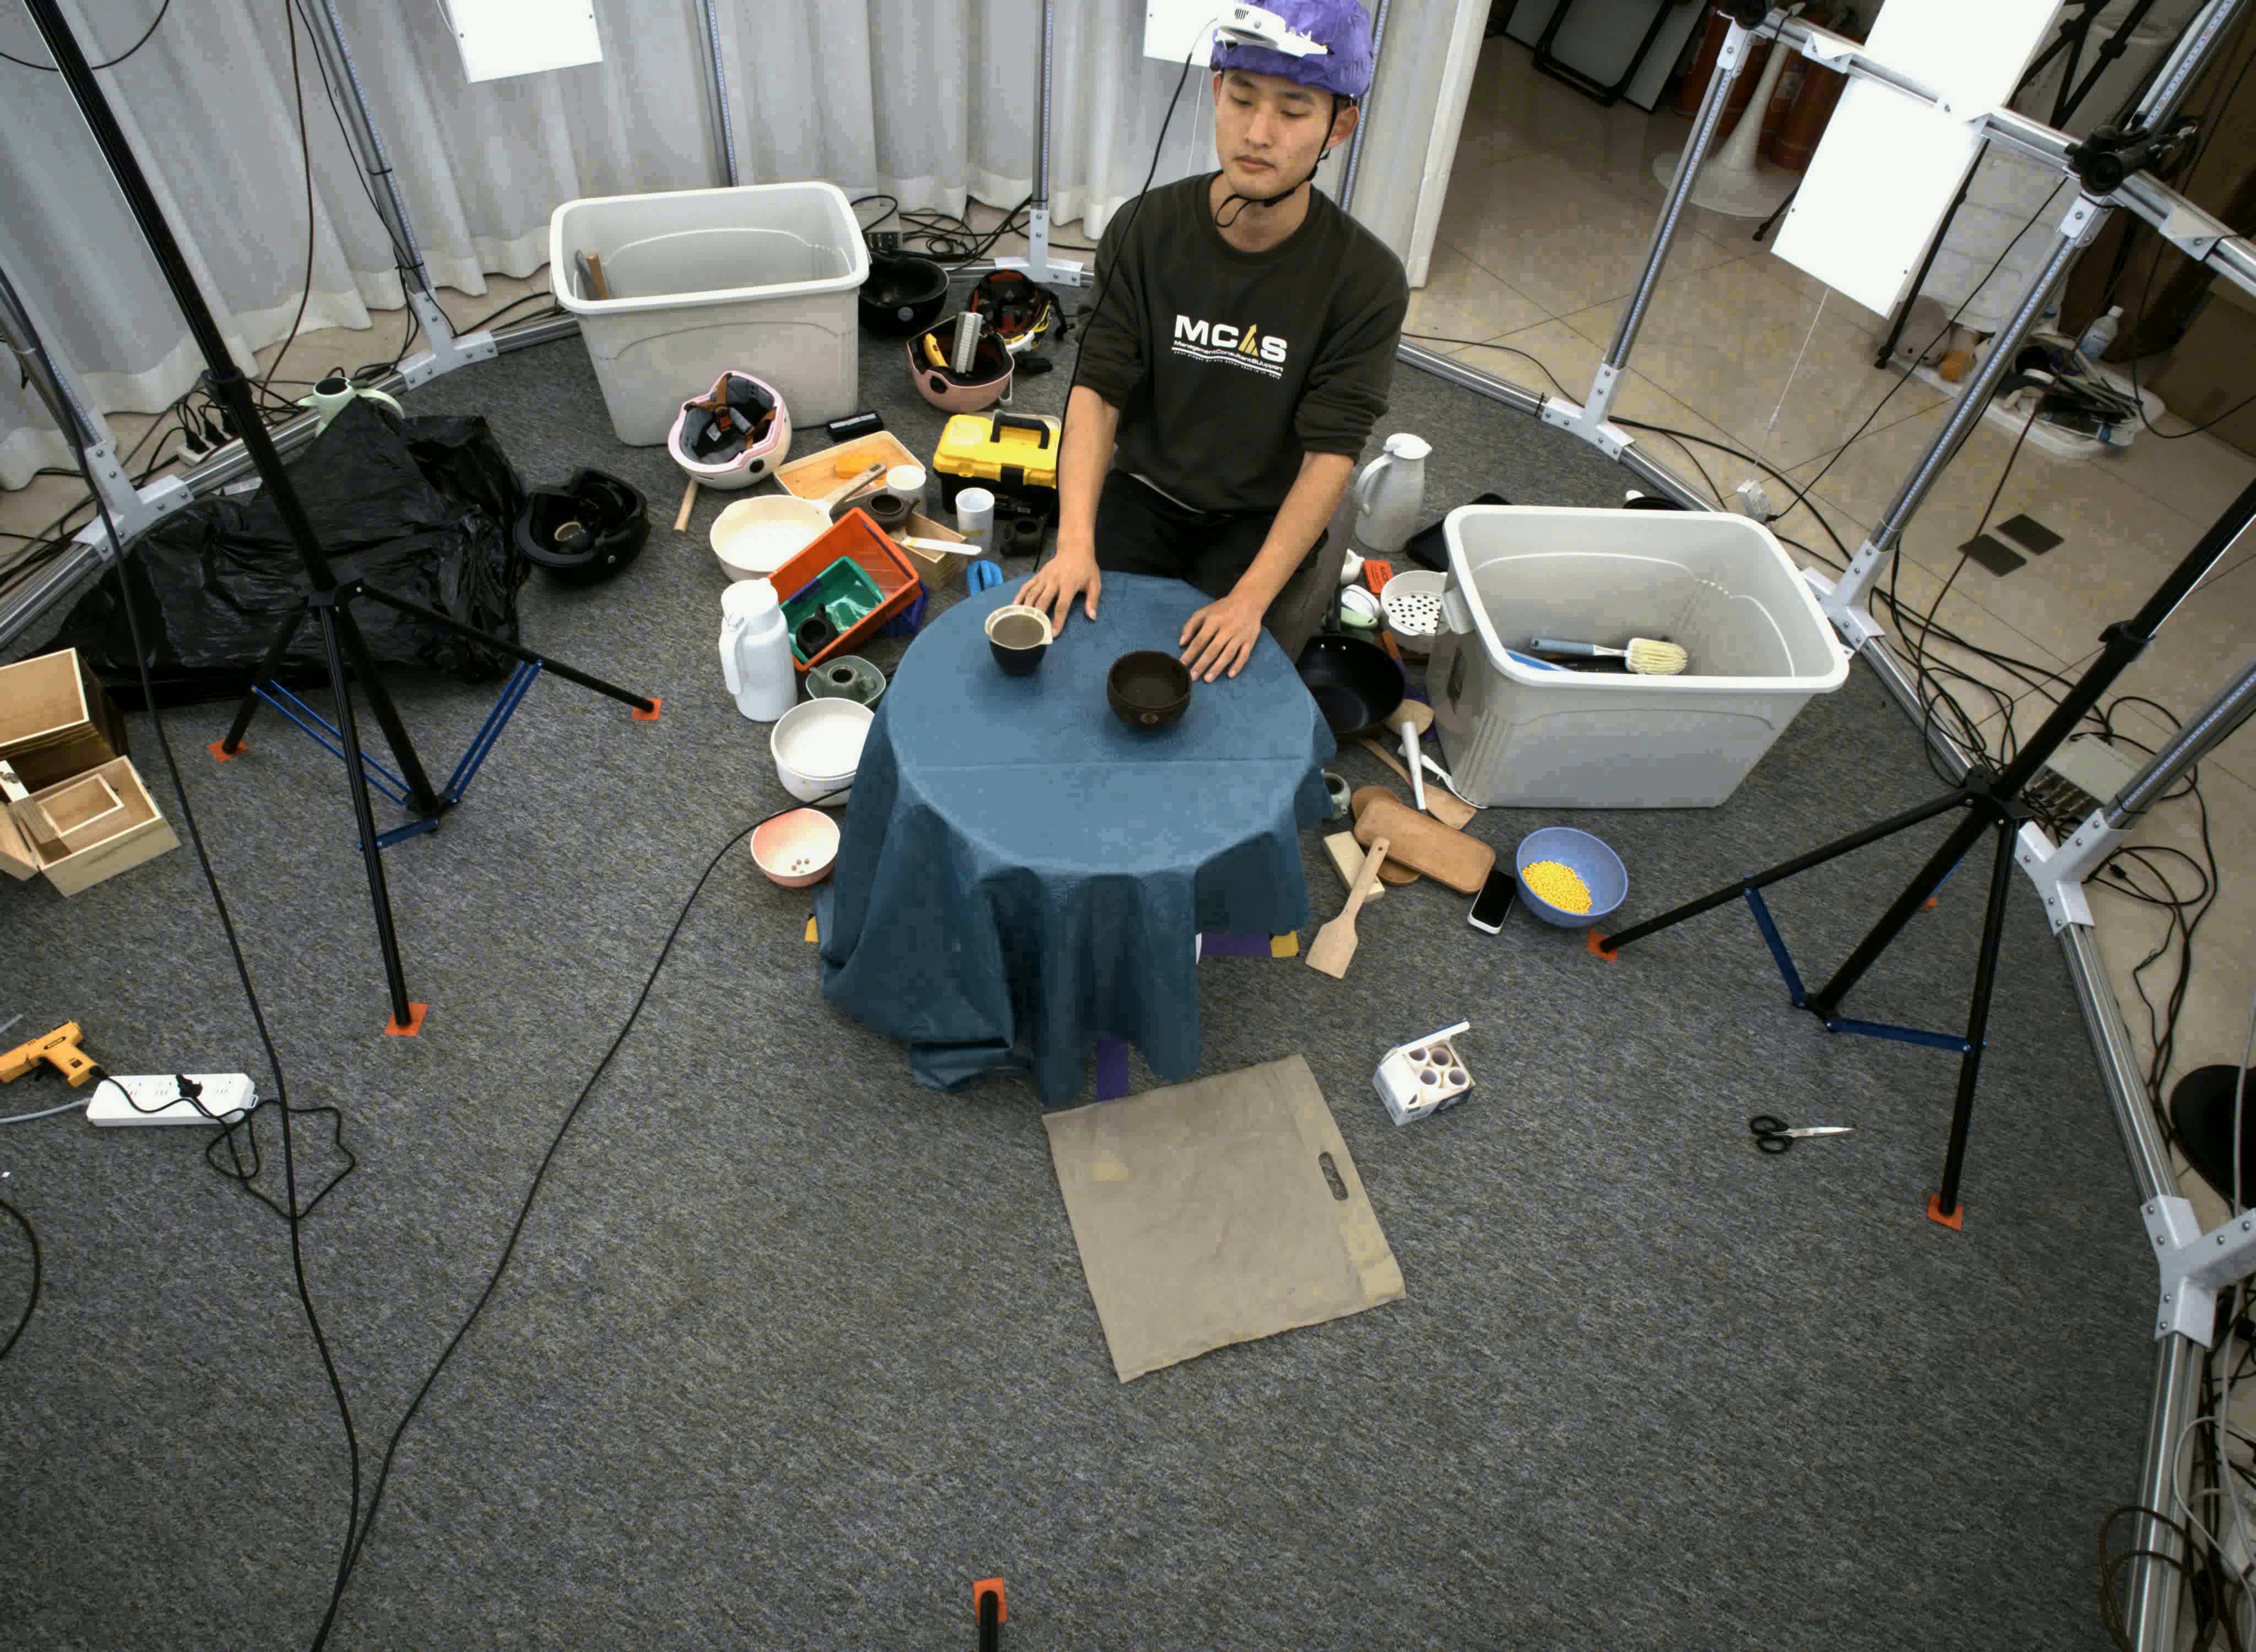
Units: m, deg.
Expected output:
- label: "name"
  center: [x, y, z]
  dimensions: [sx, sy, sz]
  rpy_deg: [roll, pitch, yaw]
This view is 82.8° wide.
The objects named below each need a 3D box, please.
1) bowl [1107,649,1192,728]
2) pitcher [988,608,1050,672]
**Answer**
- label: "bowl"
  center: [0.029, -0.183, 1.779]
  dimensions: [0.118, 0.068, 0.121]
  rpy_deg: [1, 50, -2]
- label: "pitcher"
  center: [-0.151, -0.260, 1.831]
  dimensions: [0.097, 0.069, 0.085]
  rpy_deg: [31, 52, 21]
